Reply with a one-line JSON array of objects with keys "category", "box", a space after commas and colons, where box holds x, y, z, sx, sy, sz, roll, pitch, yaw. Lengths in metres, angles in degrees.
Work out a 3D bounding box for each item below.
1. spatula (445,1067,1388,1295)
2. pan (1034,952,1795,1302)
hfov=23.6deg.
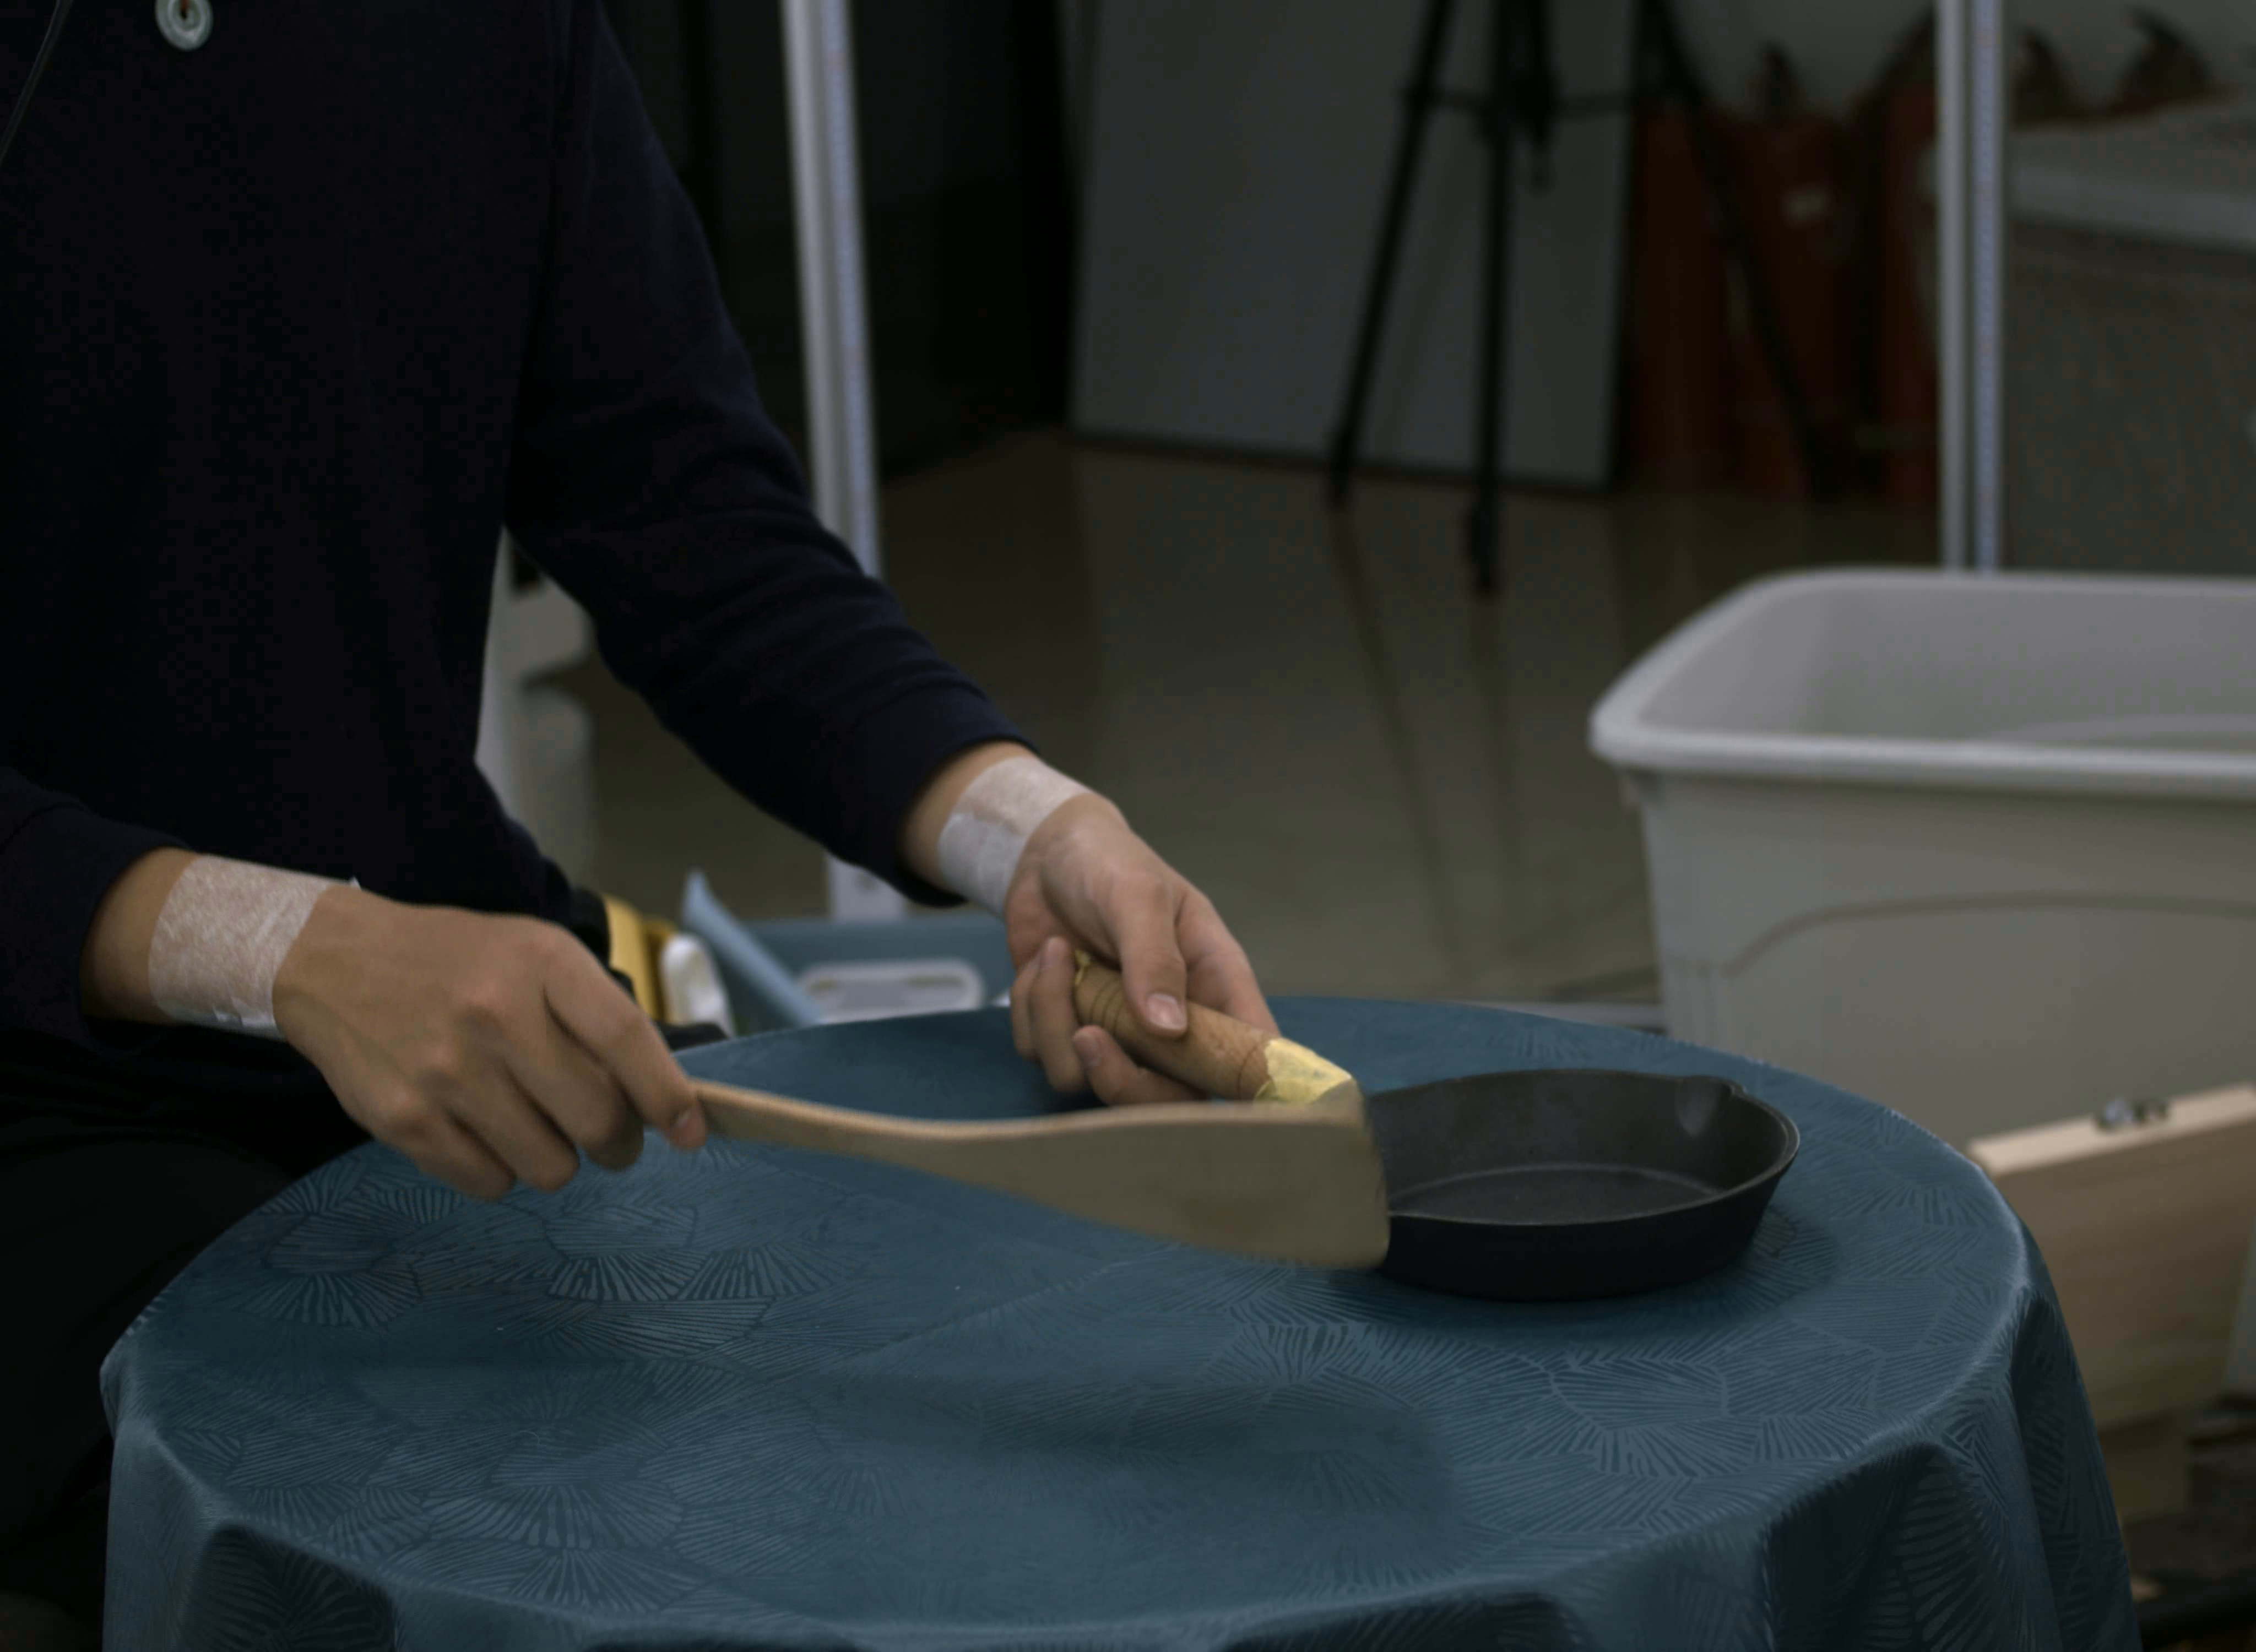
[{"category": "spatula", "box": [-0.067, 0.098, 1.609, 0.329, 0.079, 0.016, 7, 53, 30]}, {"category": "pan", "box": [0.079, 0.093, 1.754, 0.165, 0.050, 0.327, -15, 19, -37]}]
